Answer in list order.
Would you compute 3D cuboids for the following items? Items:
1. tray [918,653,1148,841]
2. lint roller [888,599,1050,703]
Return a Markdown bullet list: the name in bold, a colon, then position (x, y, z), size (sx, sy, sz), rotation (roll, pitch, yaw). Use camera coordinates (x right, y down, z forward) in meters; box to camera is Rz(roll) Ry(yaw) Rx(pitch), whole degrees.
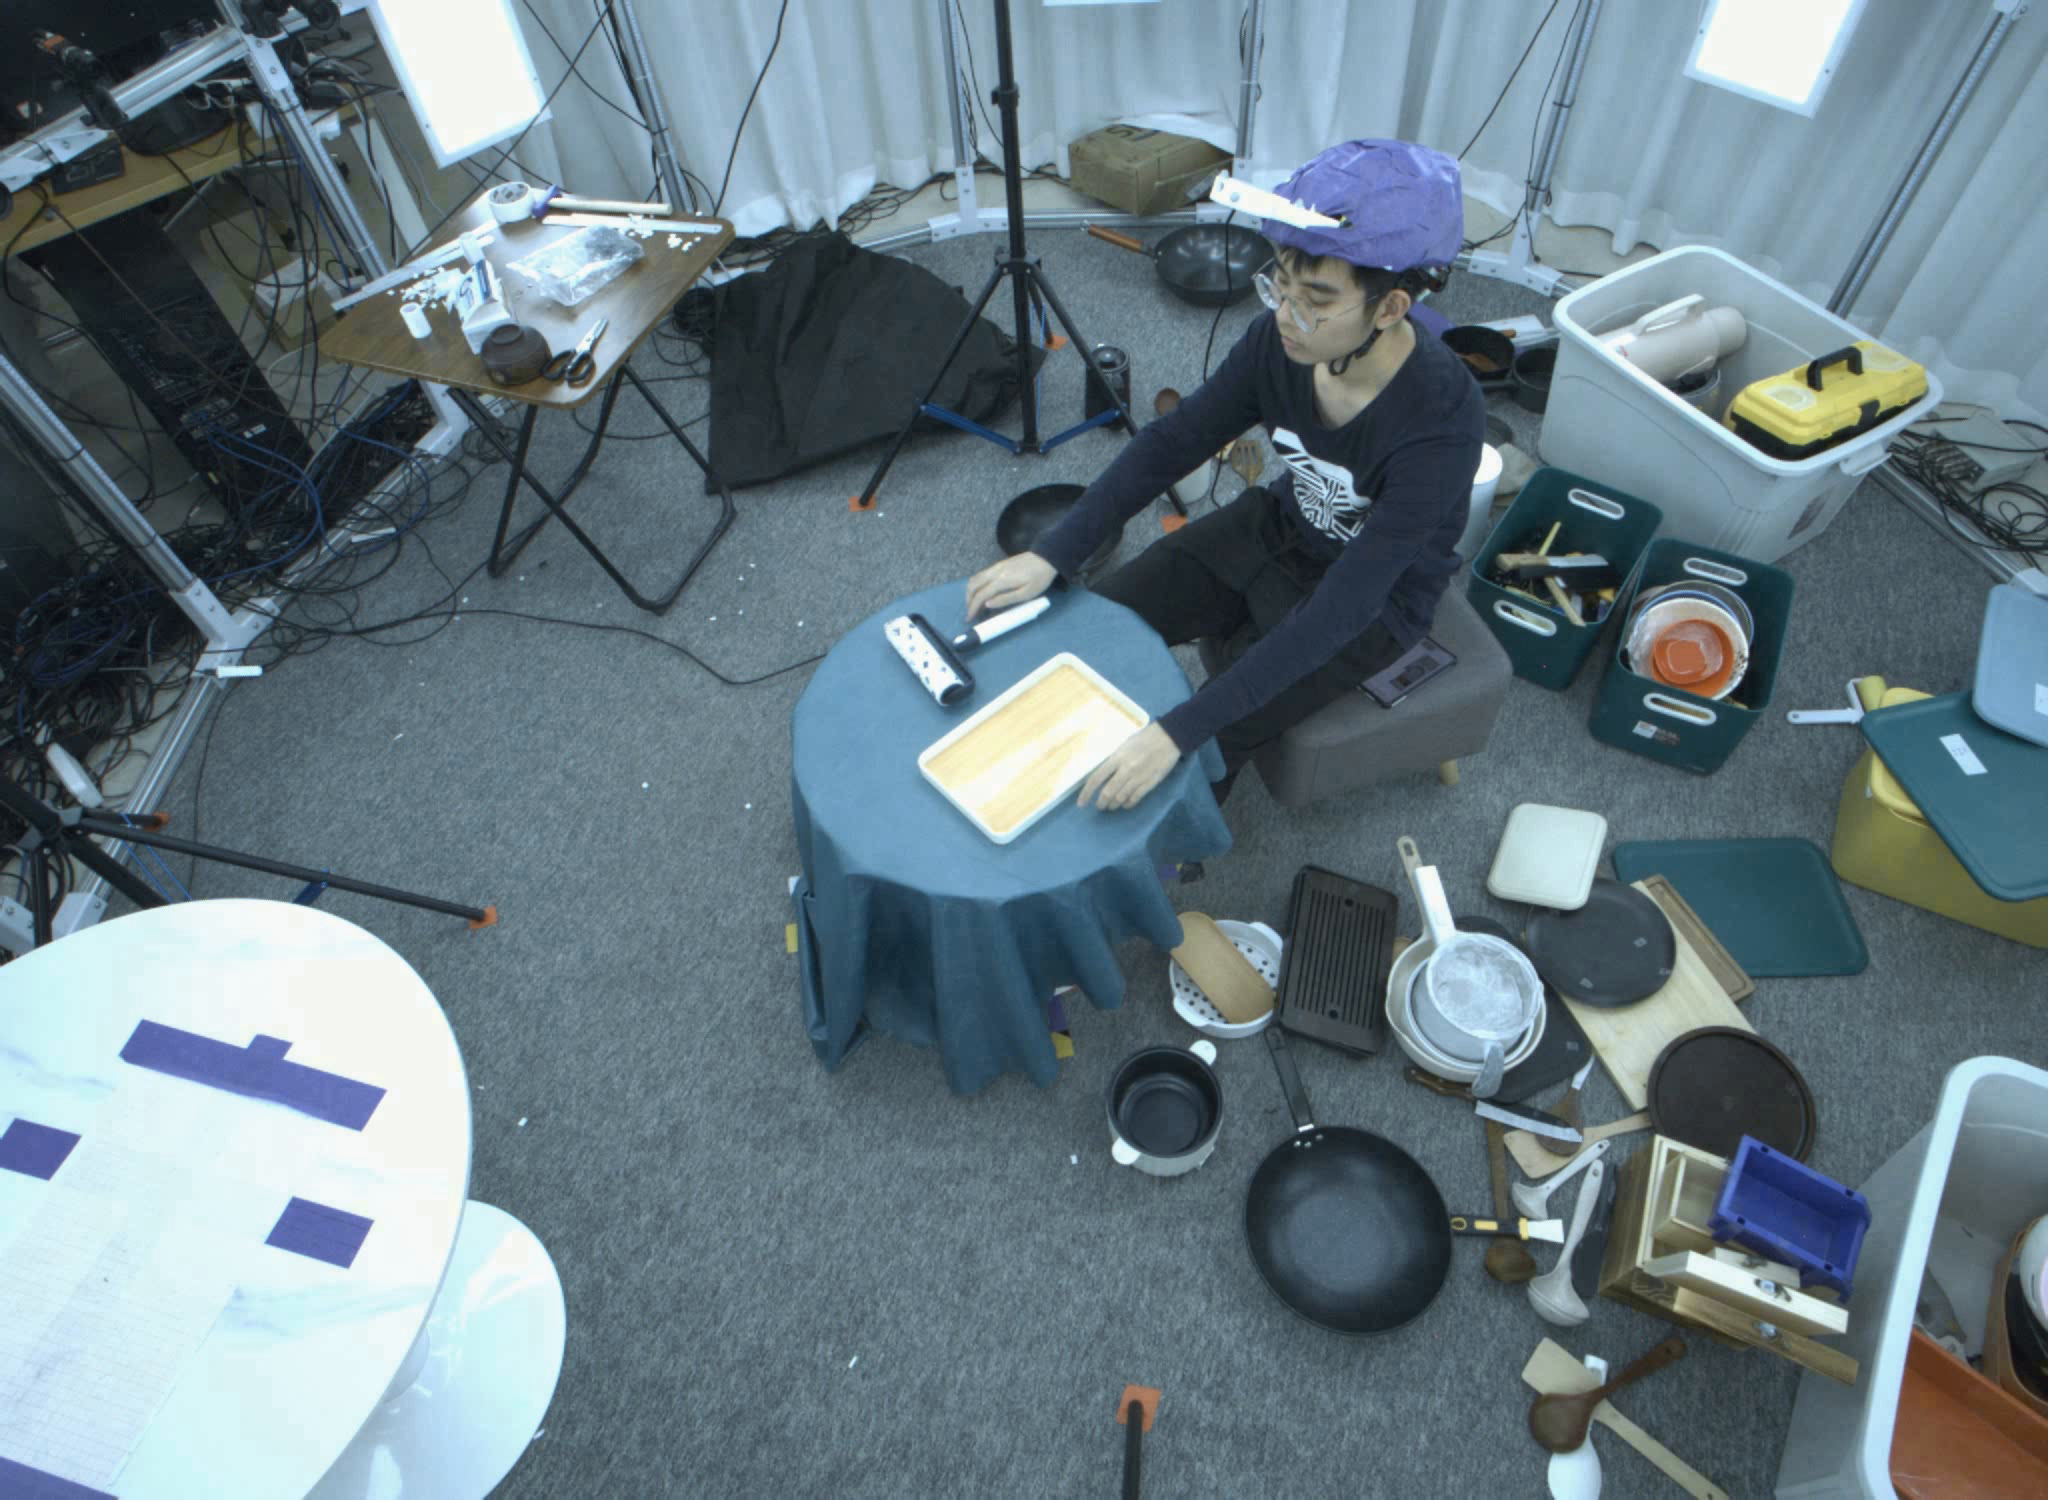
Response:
- **tray**: position (0.015, -0.010, 1.785), size (0.302, 0.028, 0.188), rotation (-37, 59, -22)
- **lint roller**: position (-0.067, -0.184, 1.902), size (0.249, 0.051, 0.173), rotation (-29, 58, -20)
